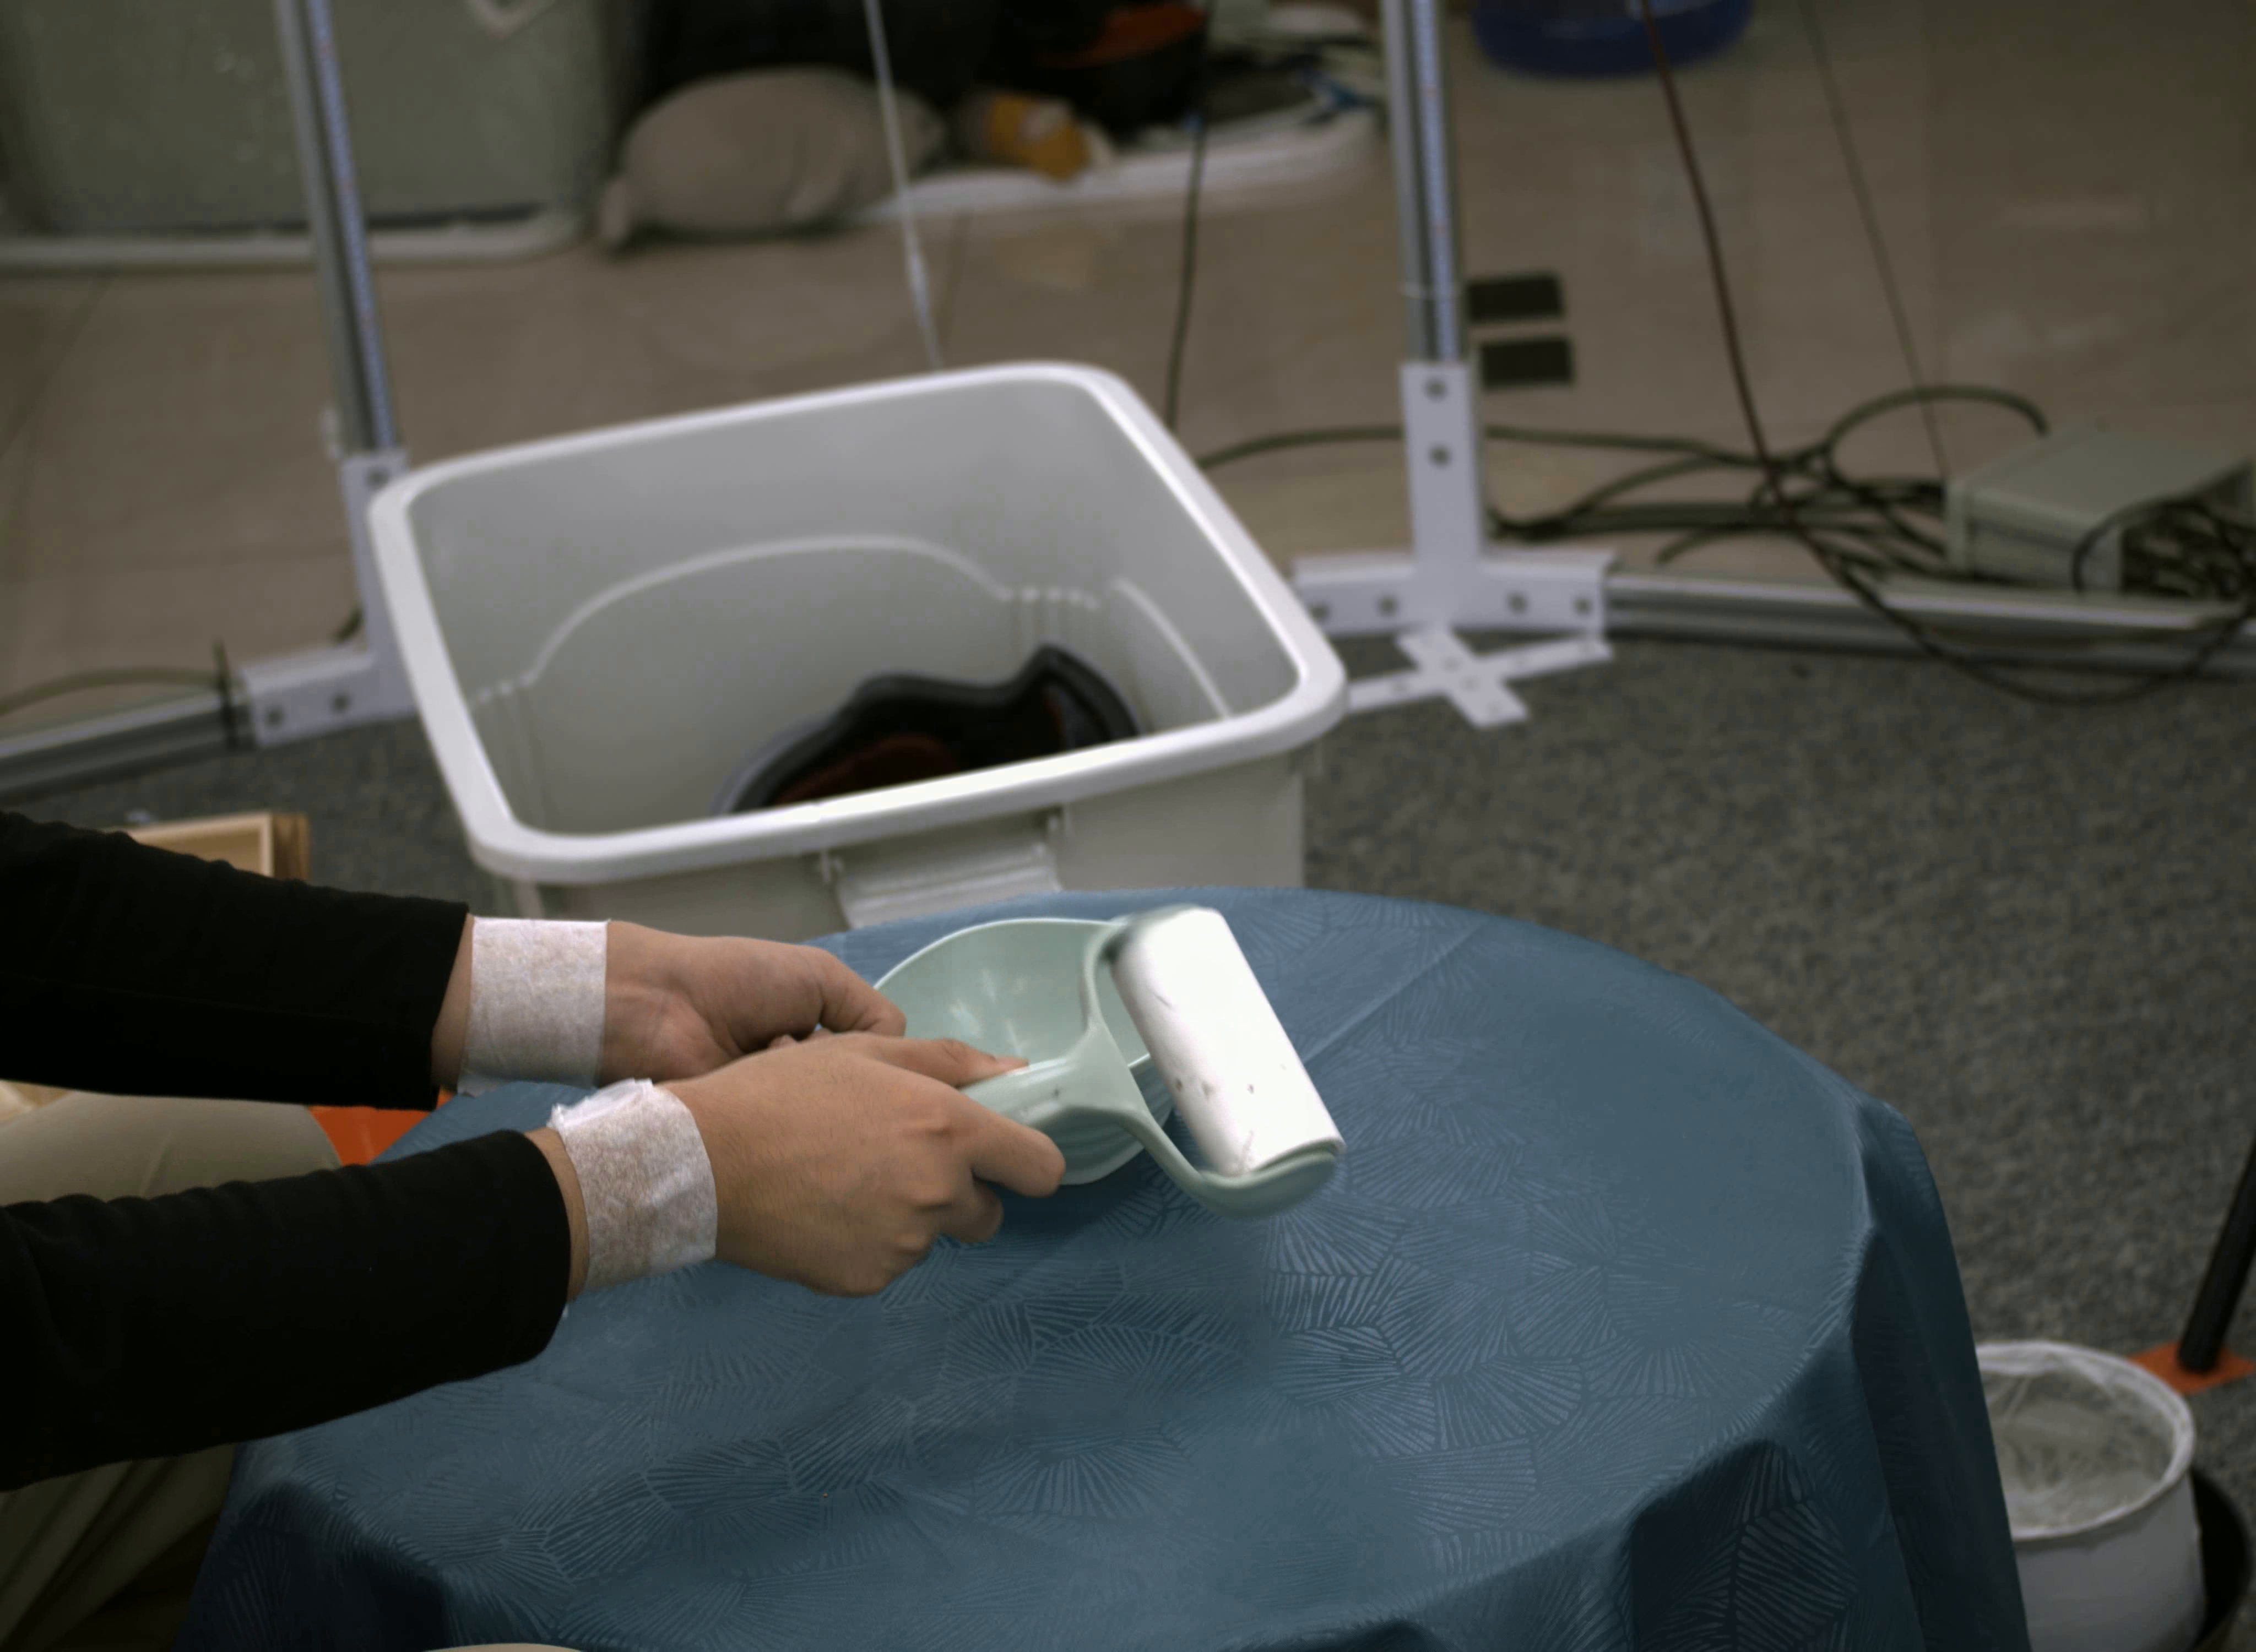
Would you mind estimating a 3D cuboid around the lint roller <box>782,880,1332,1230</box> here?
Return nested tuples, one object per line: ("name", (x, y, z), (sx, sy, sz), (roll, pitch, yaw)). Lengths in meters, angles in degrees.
("lint roller", (-0.033, 0.095, 2.015), (0.196, 0.049, 0.115), (-17, 69, -25))

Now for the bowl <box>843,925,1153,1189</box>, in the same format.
("bowl", (-0.033, 0.094, 2.186), (0.151, 0.059, 0.149), (-4, 24, 2))
